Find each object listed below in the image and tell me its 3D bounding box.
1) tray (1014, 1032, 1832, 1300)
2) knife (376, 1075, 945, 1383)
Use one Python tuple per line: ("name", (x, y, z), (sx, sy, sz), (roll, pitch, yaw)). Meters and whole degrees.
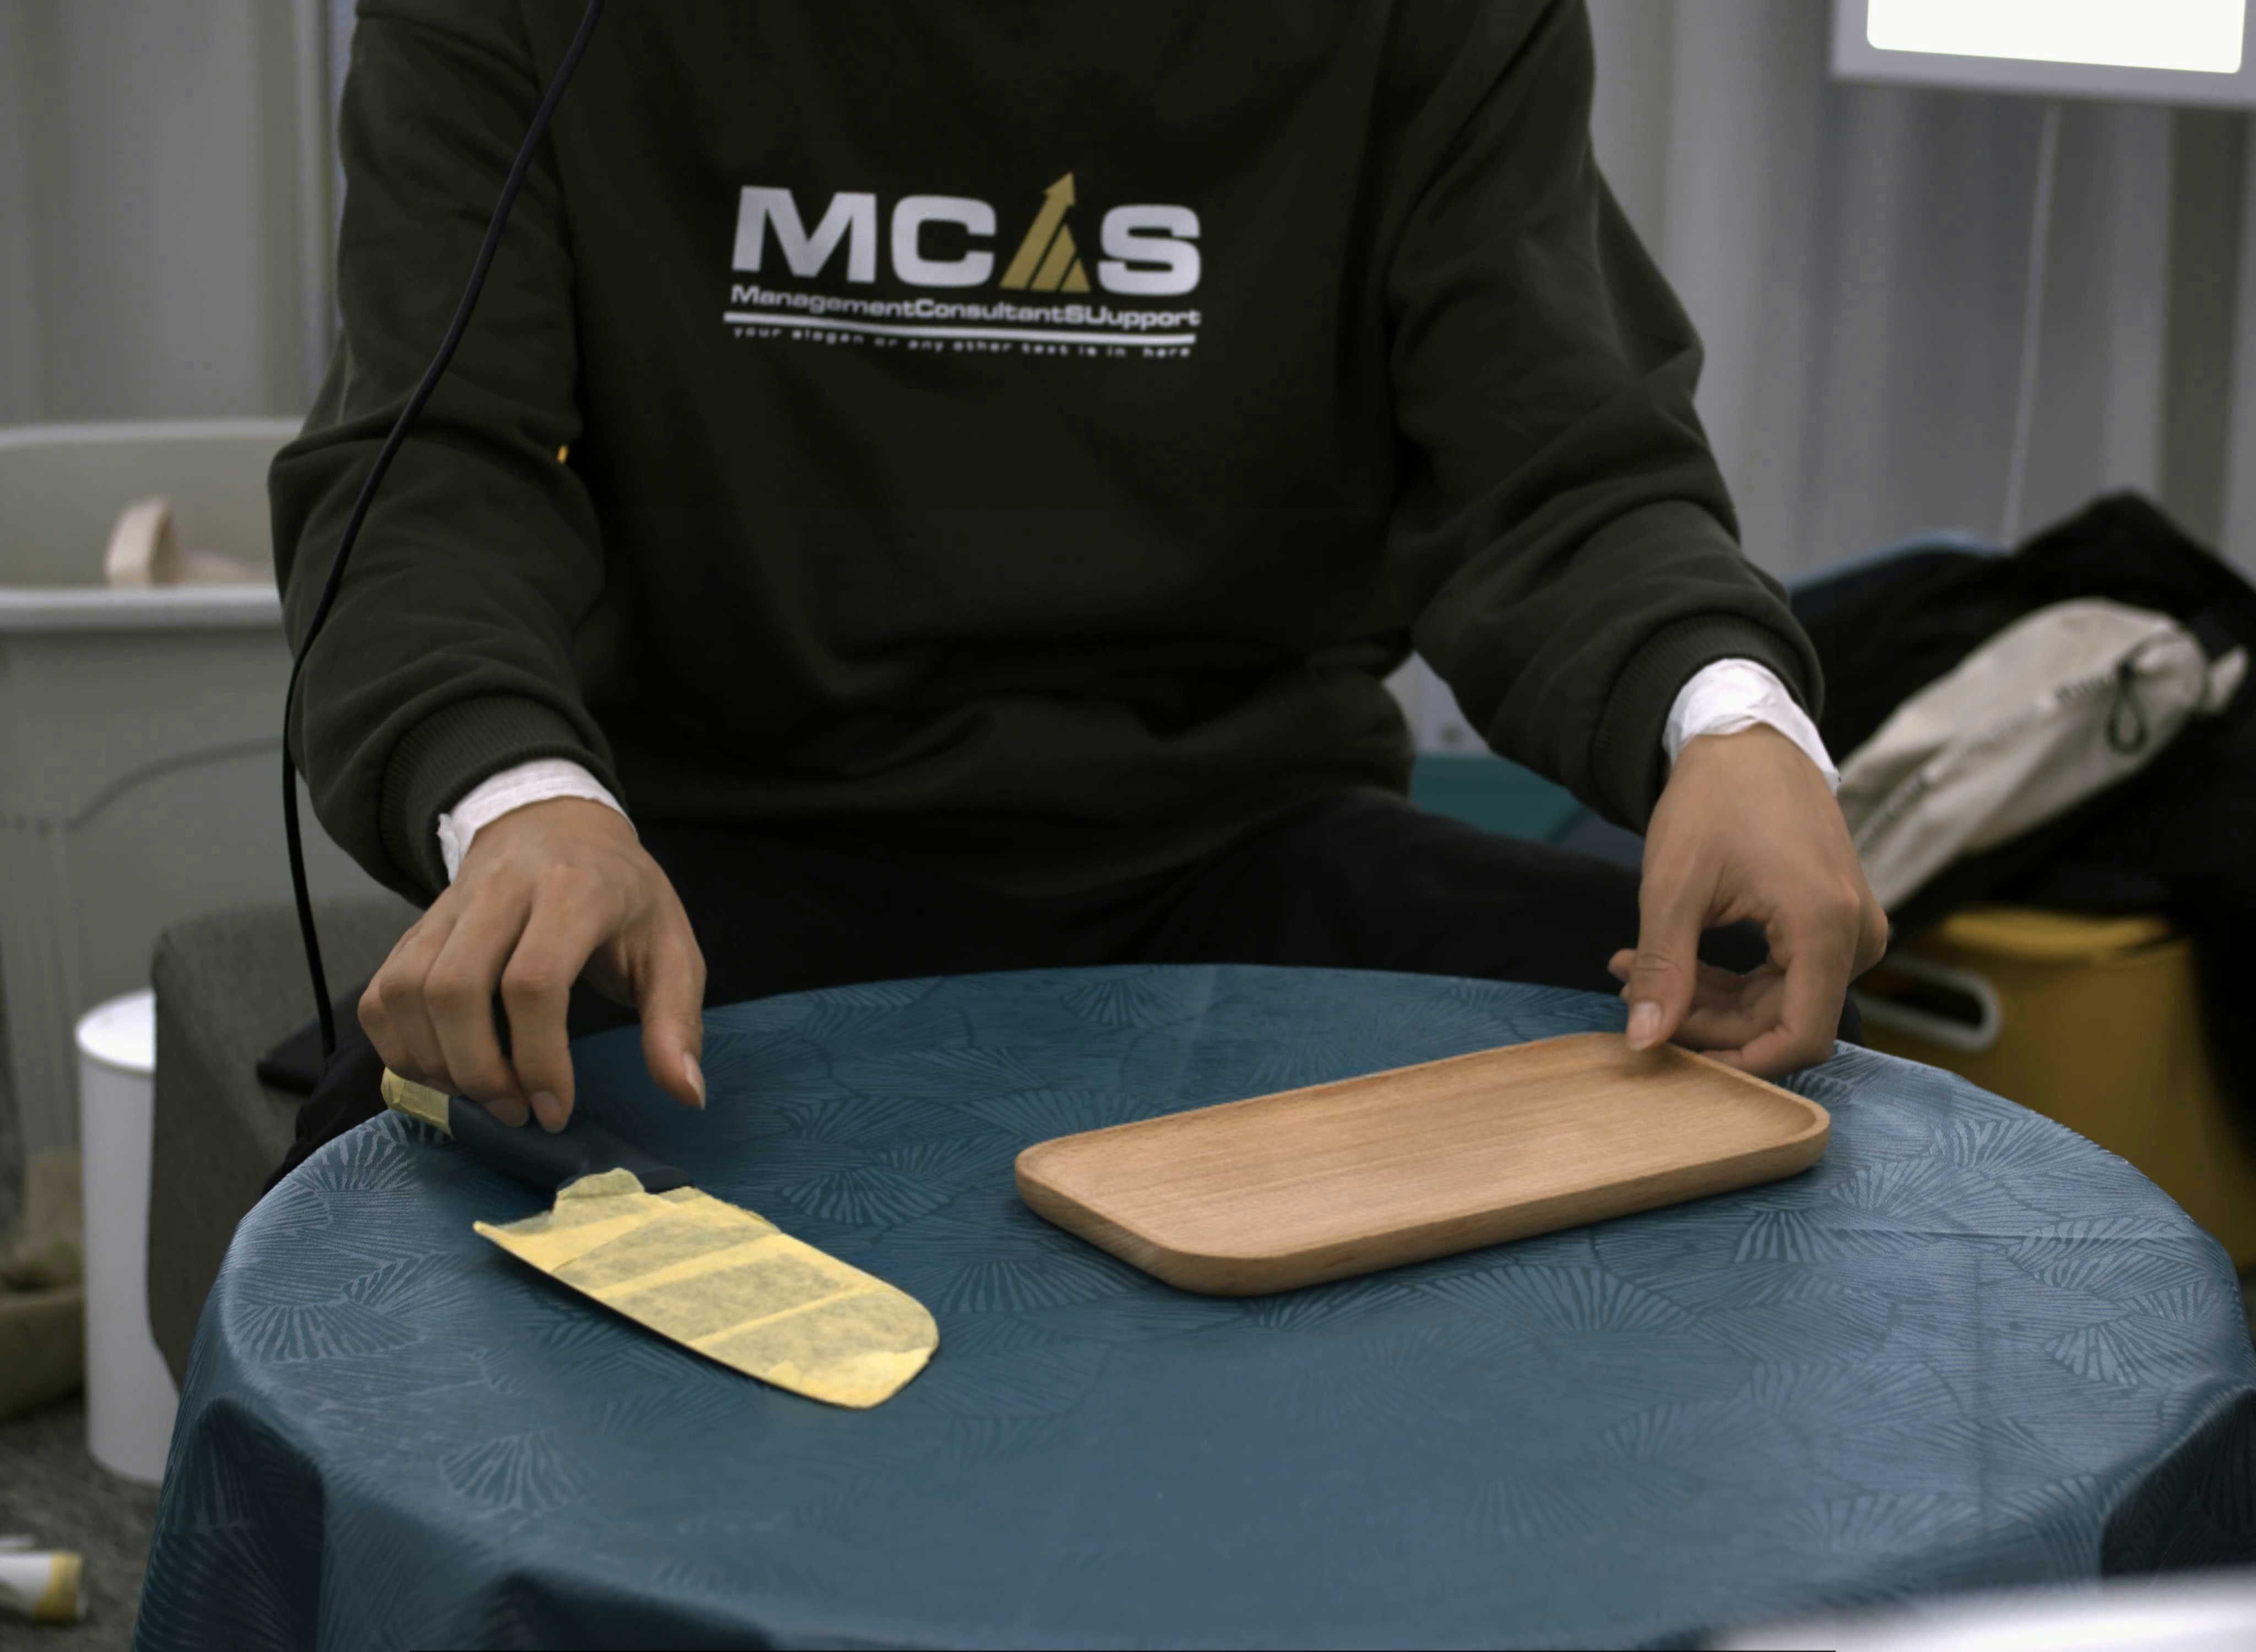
("tray", (0.093, 0.104, 1.630), (0.252, 0.023, 0.129), (-10, 16, -32))
("knife", (-0.151, 0.121, 1.563), (0.081, 0.027, 0.285), (-10, 19, -38))
